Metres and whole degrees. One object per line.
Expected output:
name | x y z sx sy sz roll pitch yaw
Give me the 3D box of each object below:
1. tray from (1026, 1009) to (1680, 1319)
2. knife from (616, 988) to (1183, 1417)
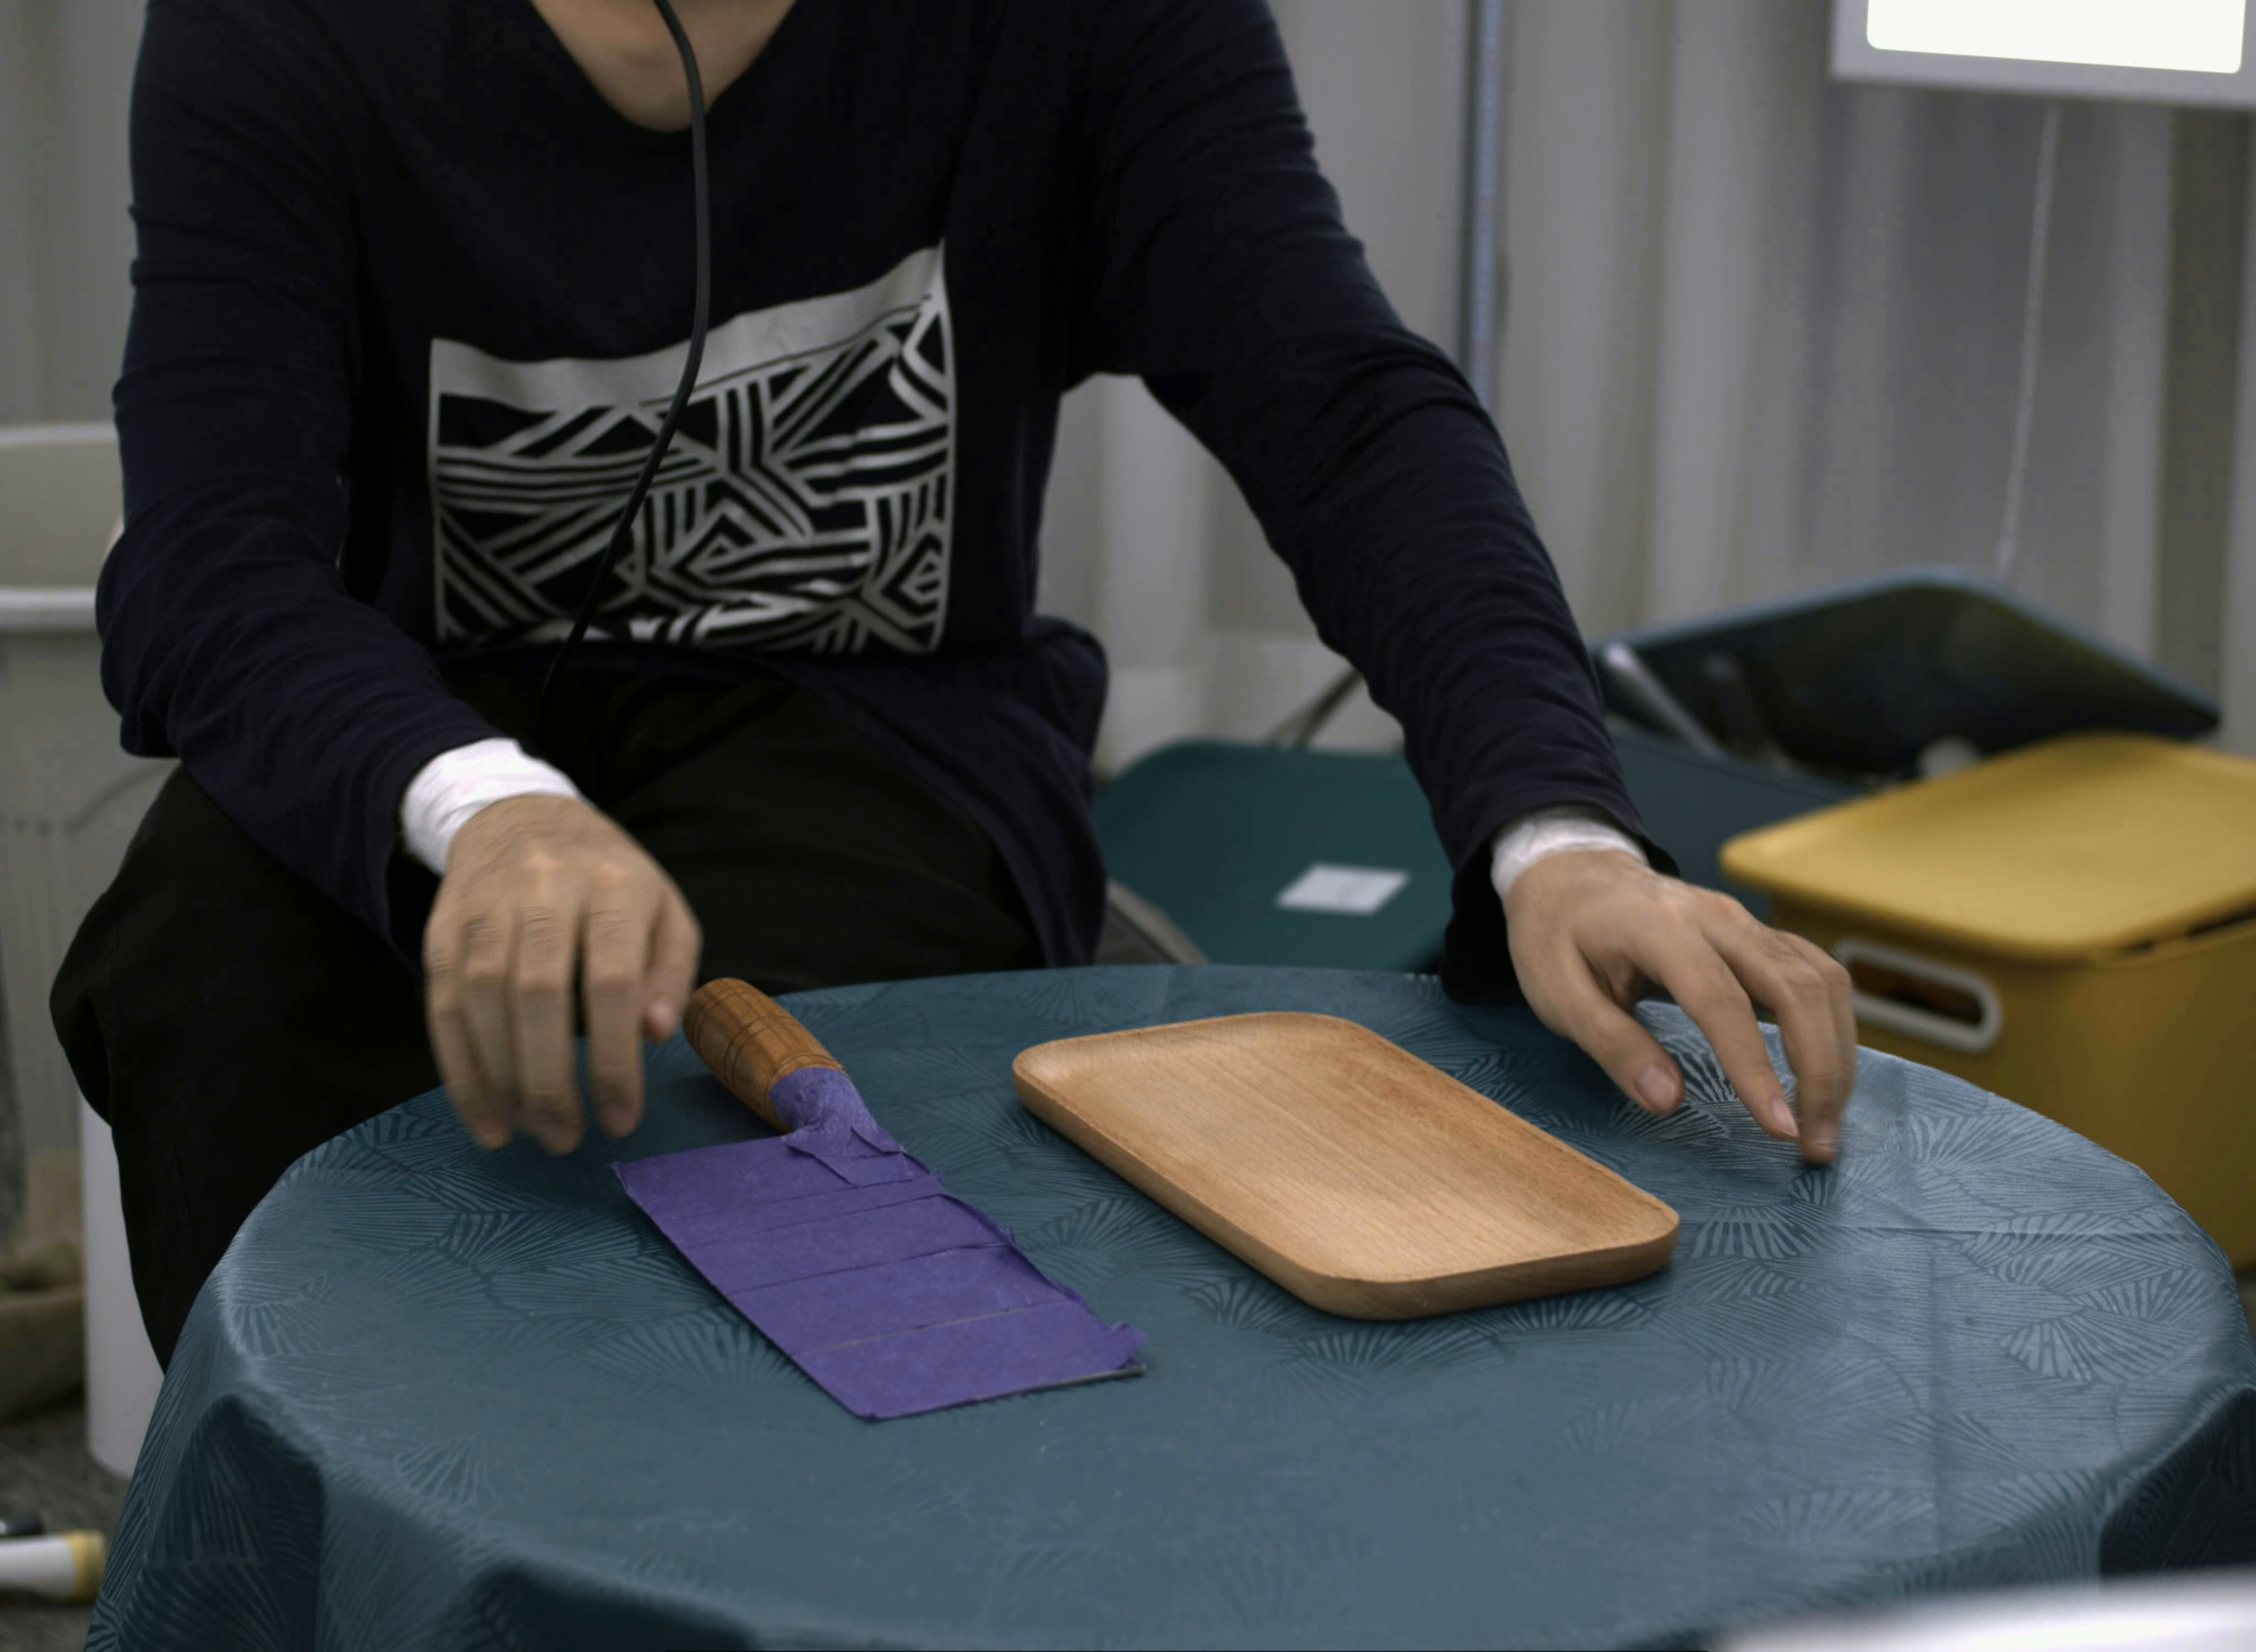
tray | 0.065 0.102 1.635 0.131 0.023 0.248 -4 15 -23
knife | -0.097 0.109 1.584 0.104 0.032 0.311 -7 18 -25
